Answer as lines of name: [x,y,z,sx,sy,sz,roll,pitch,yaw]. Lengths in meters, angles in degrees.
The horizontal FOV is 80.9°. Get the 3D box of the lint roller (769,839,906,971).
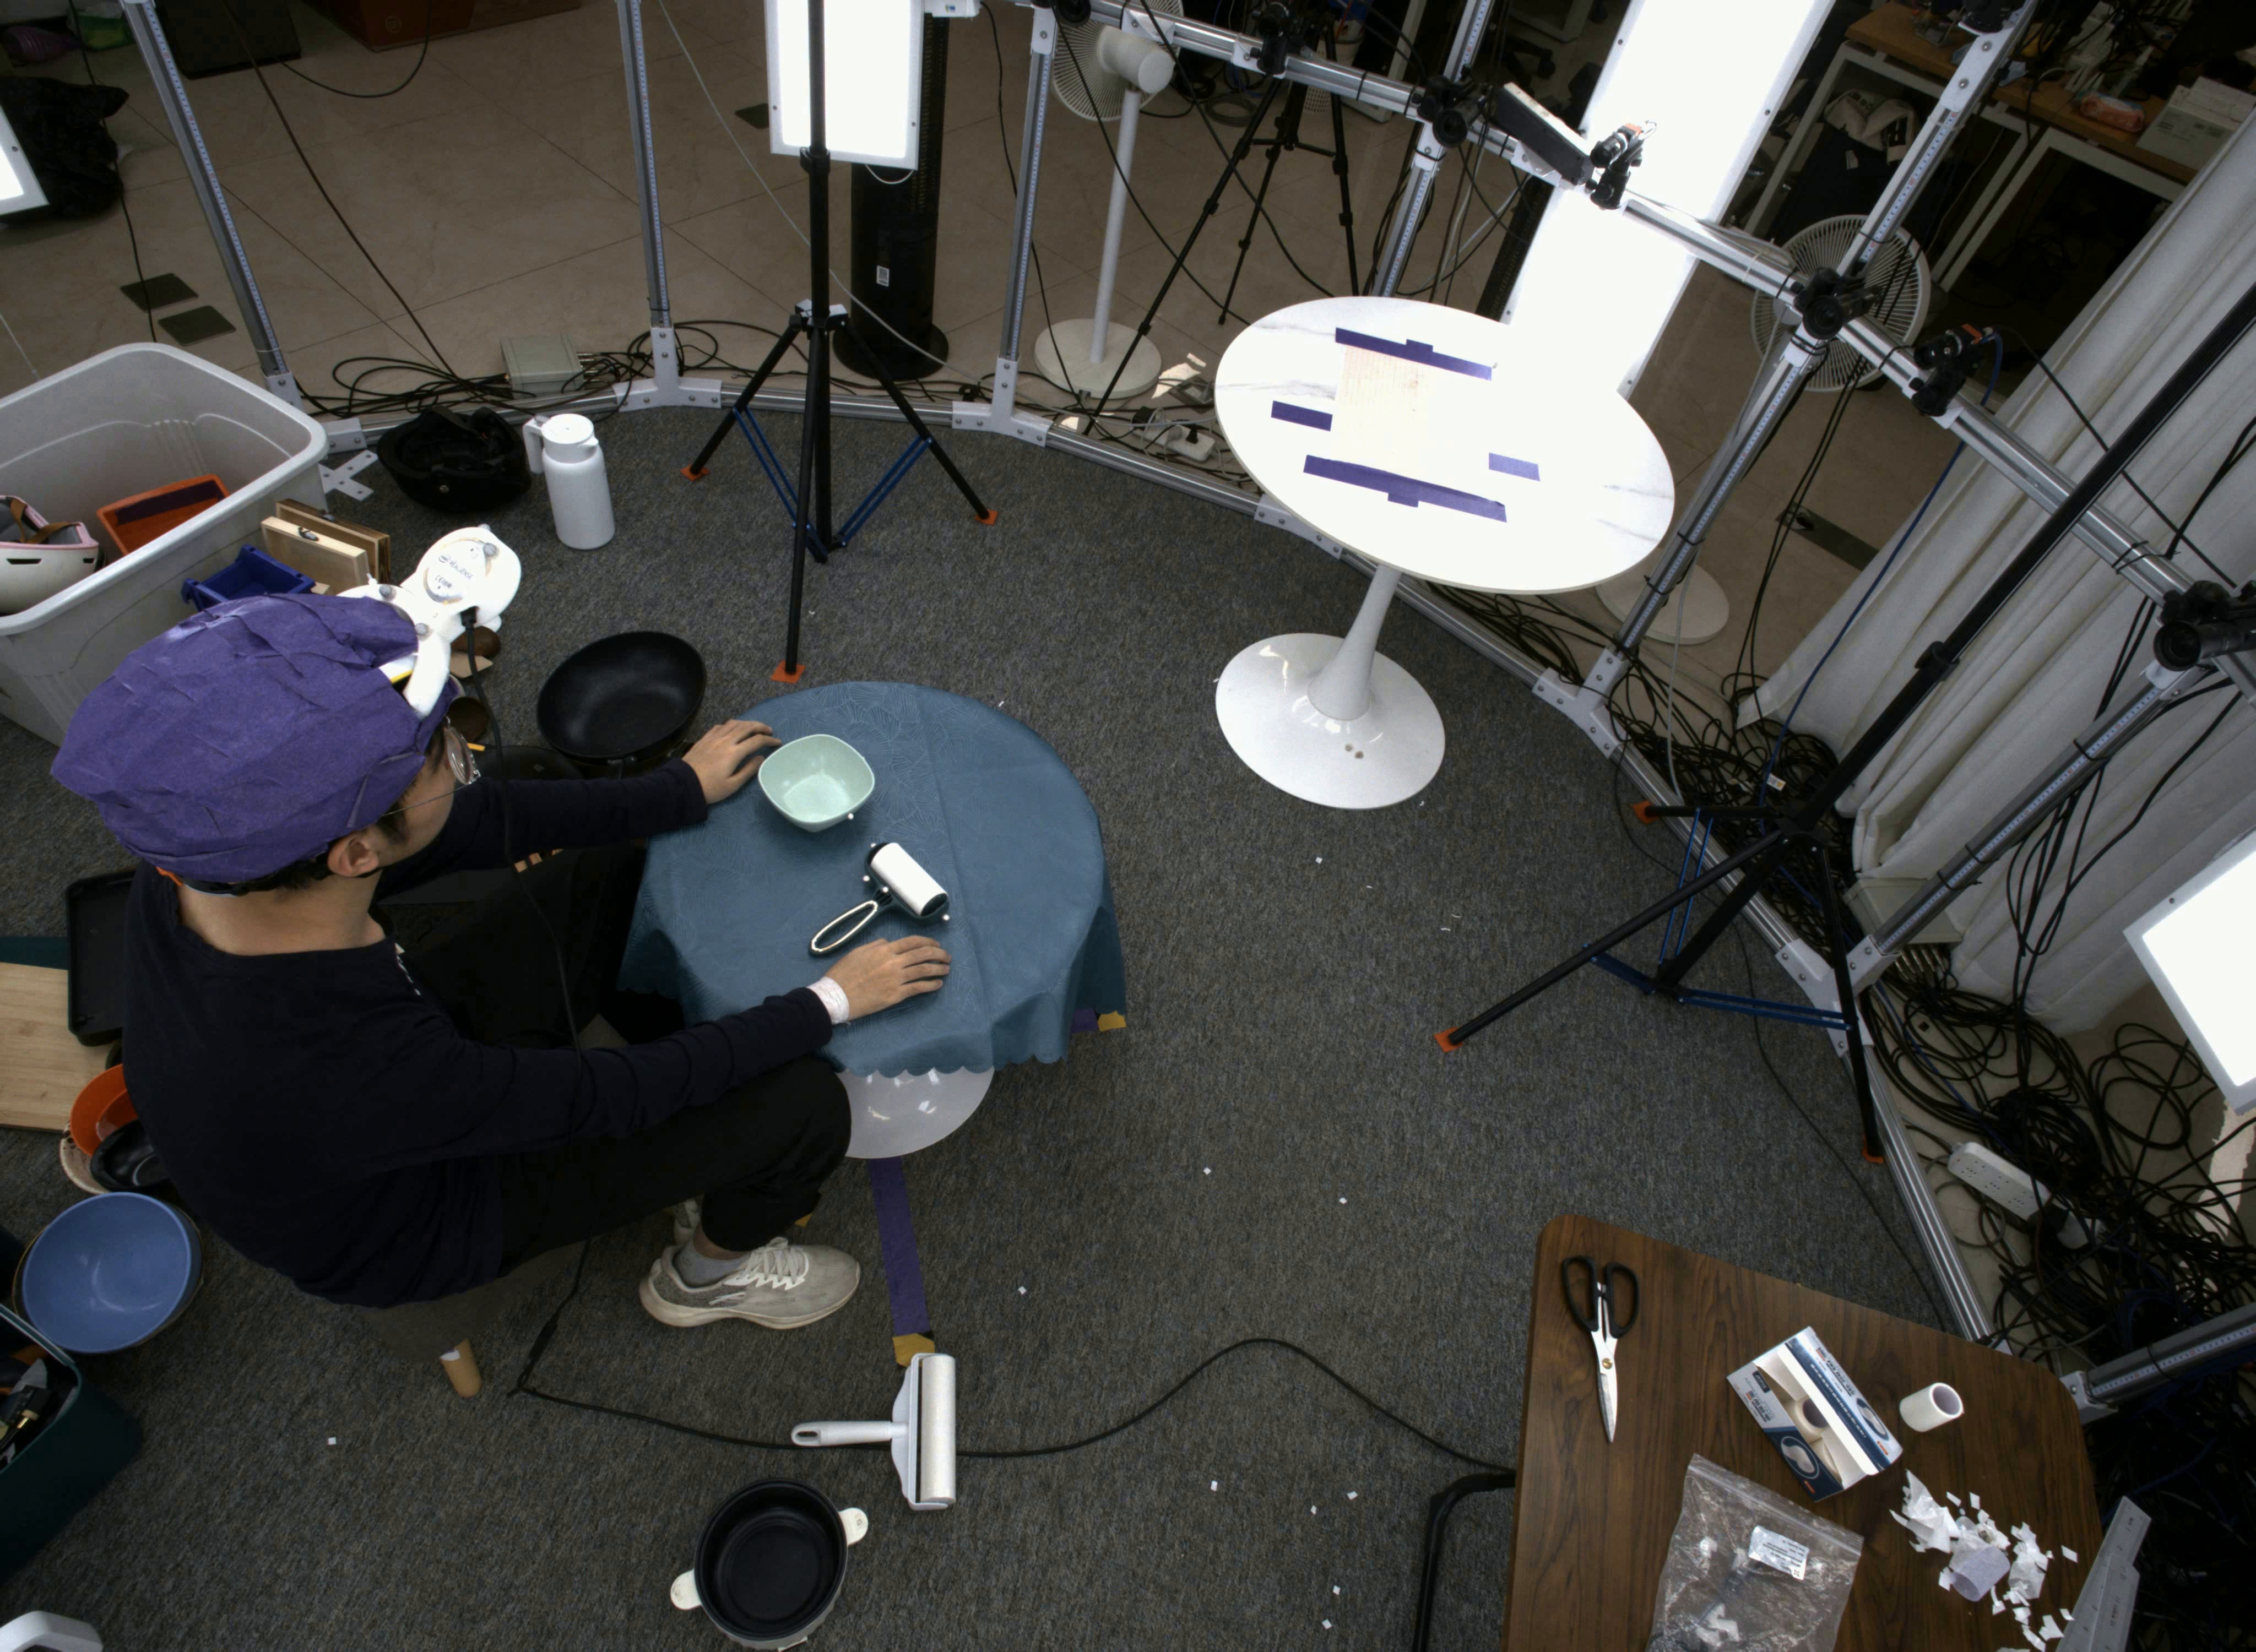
lint roller: [-0.382,0.111,1.638,0.131,0.049,0.180,40,58,16]

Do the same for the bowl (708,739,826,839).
bowl: [-0.478,-0.041,1.714,0.151,0.060,0.148,9,51,-10]
